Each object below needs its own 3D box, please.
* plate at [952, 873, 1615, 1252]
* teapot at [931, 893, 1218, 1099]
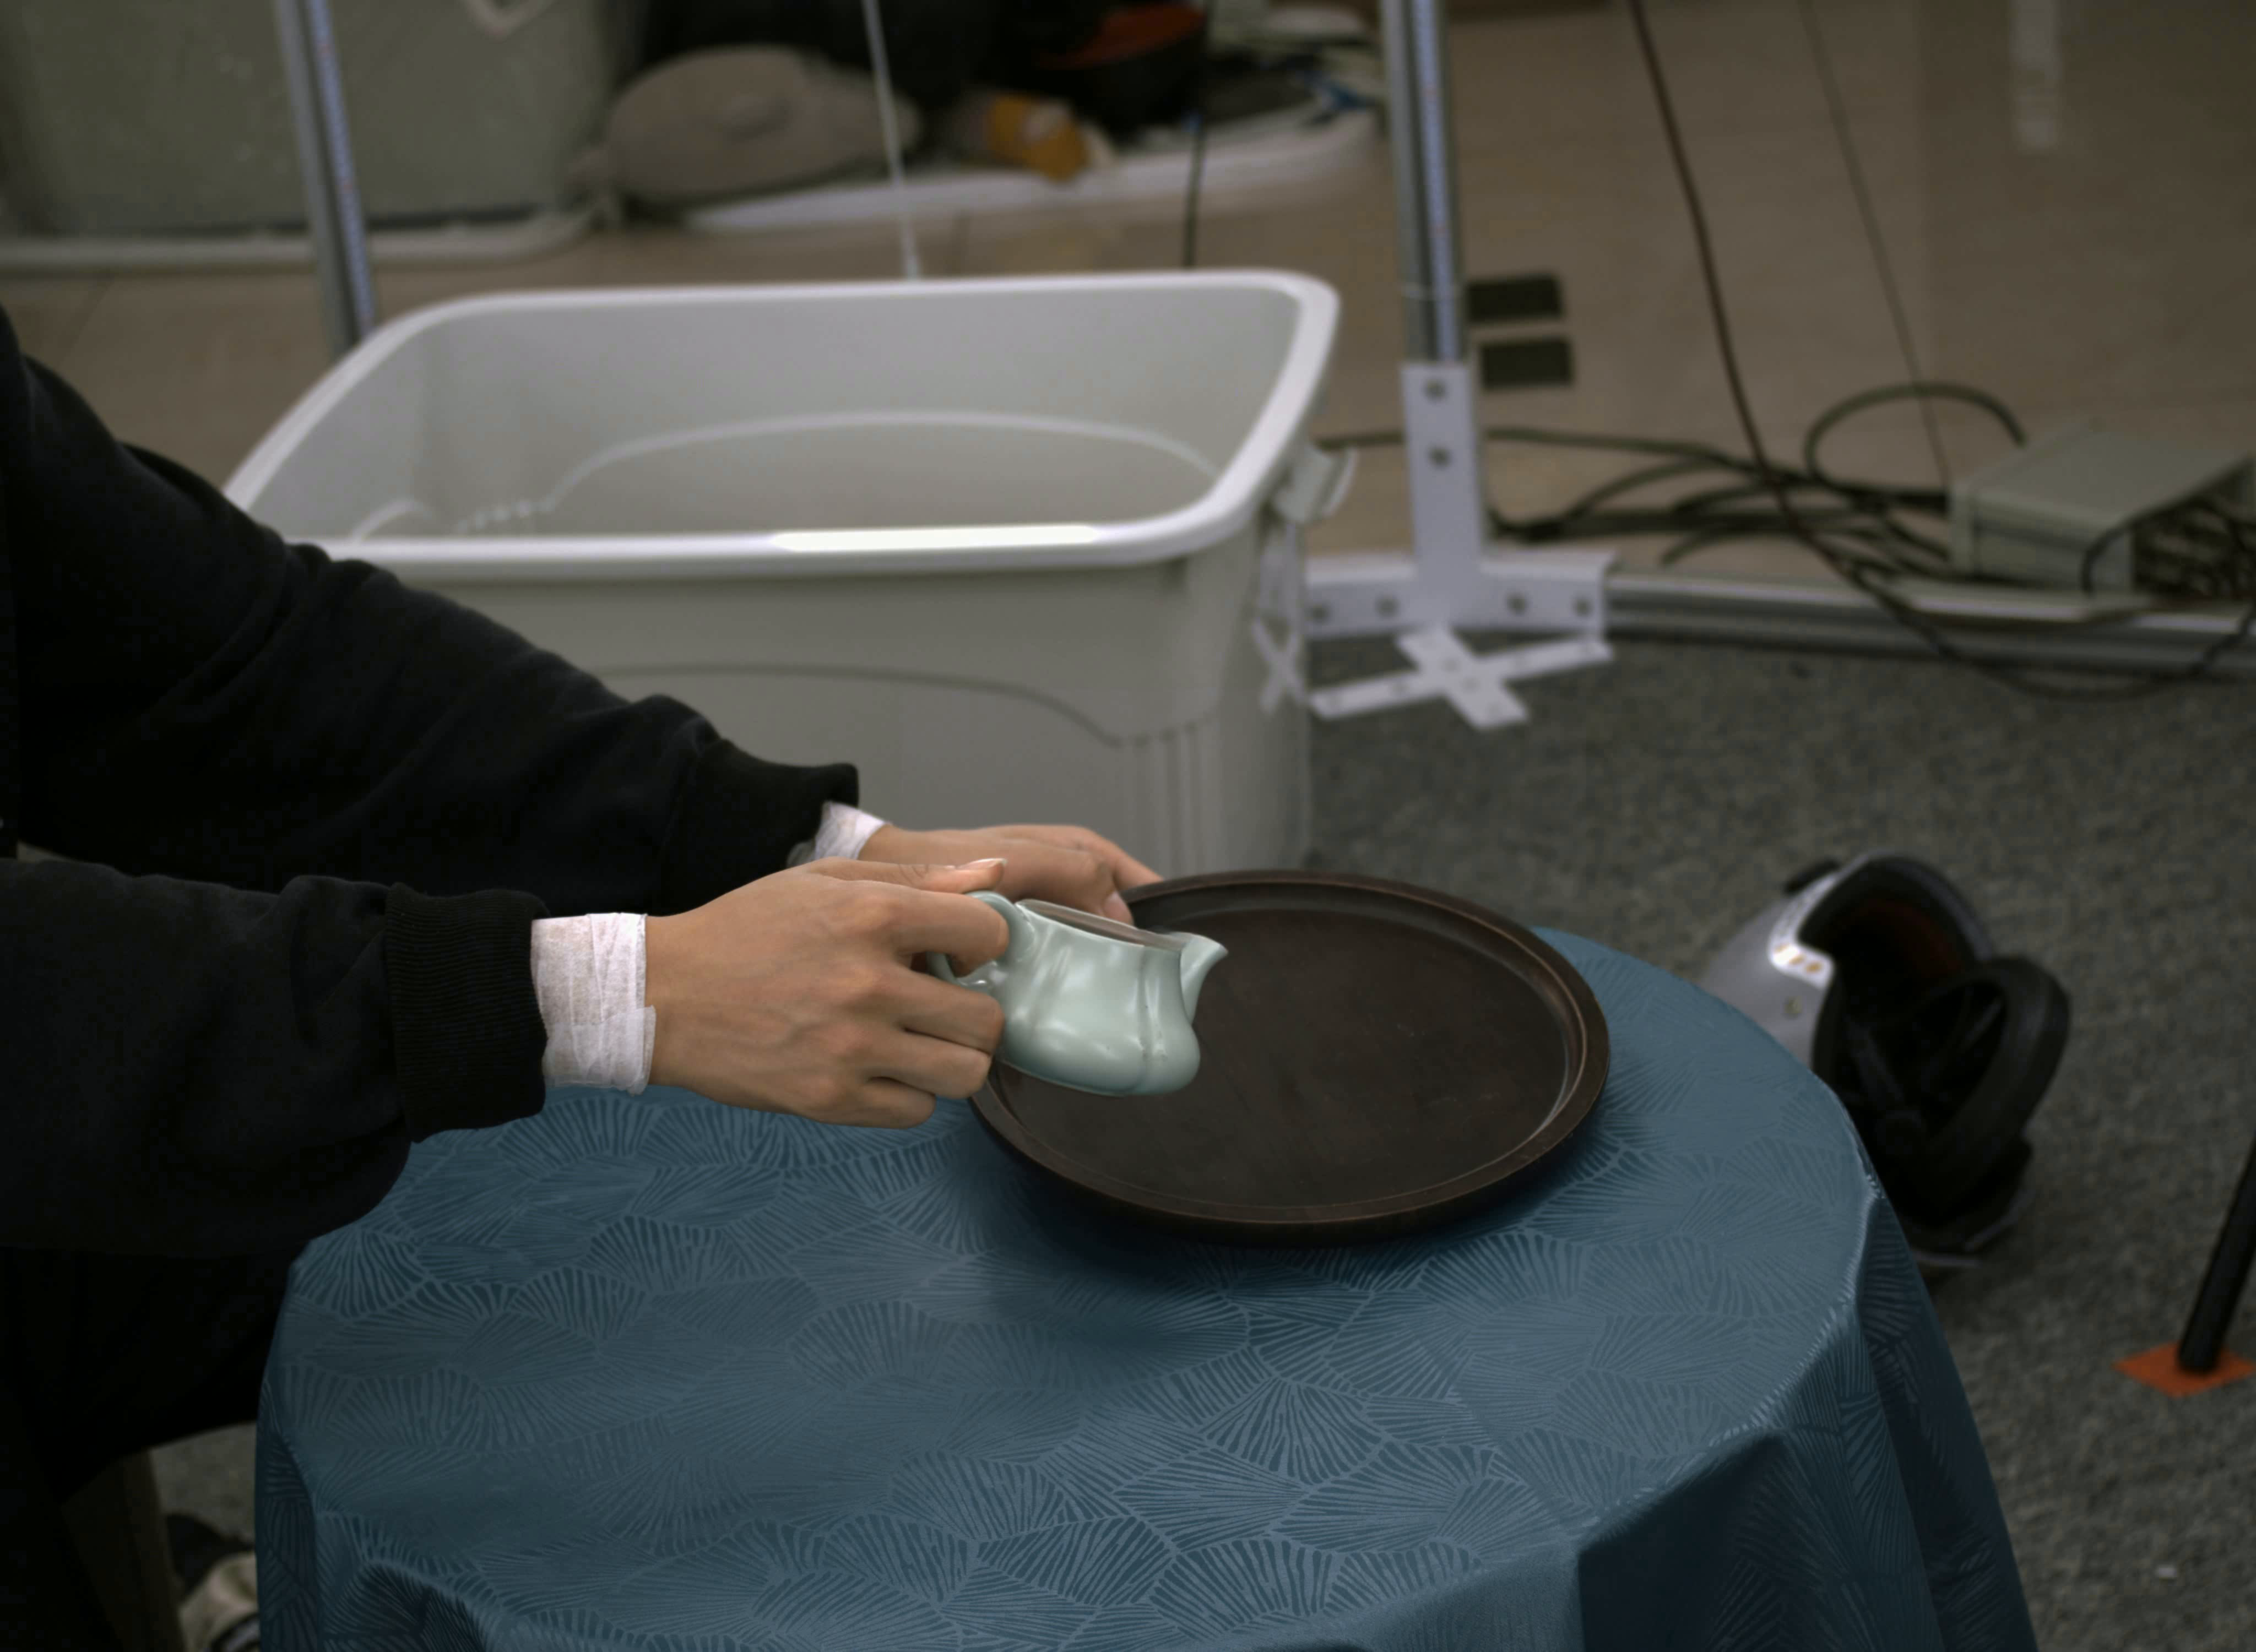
[{"bbox_3d":[0.060,0.089,2.178,0.254,0.029,0.250,0,32,0],"label":"plate"},{"bbox_3d":[-0.022,0.060,2.015,0.137,0.062,0.095,11,8,-45],"label":"teapot"}]
